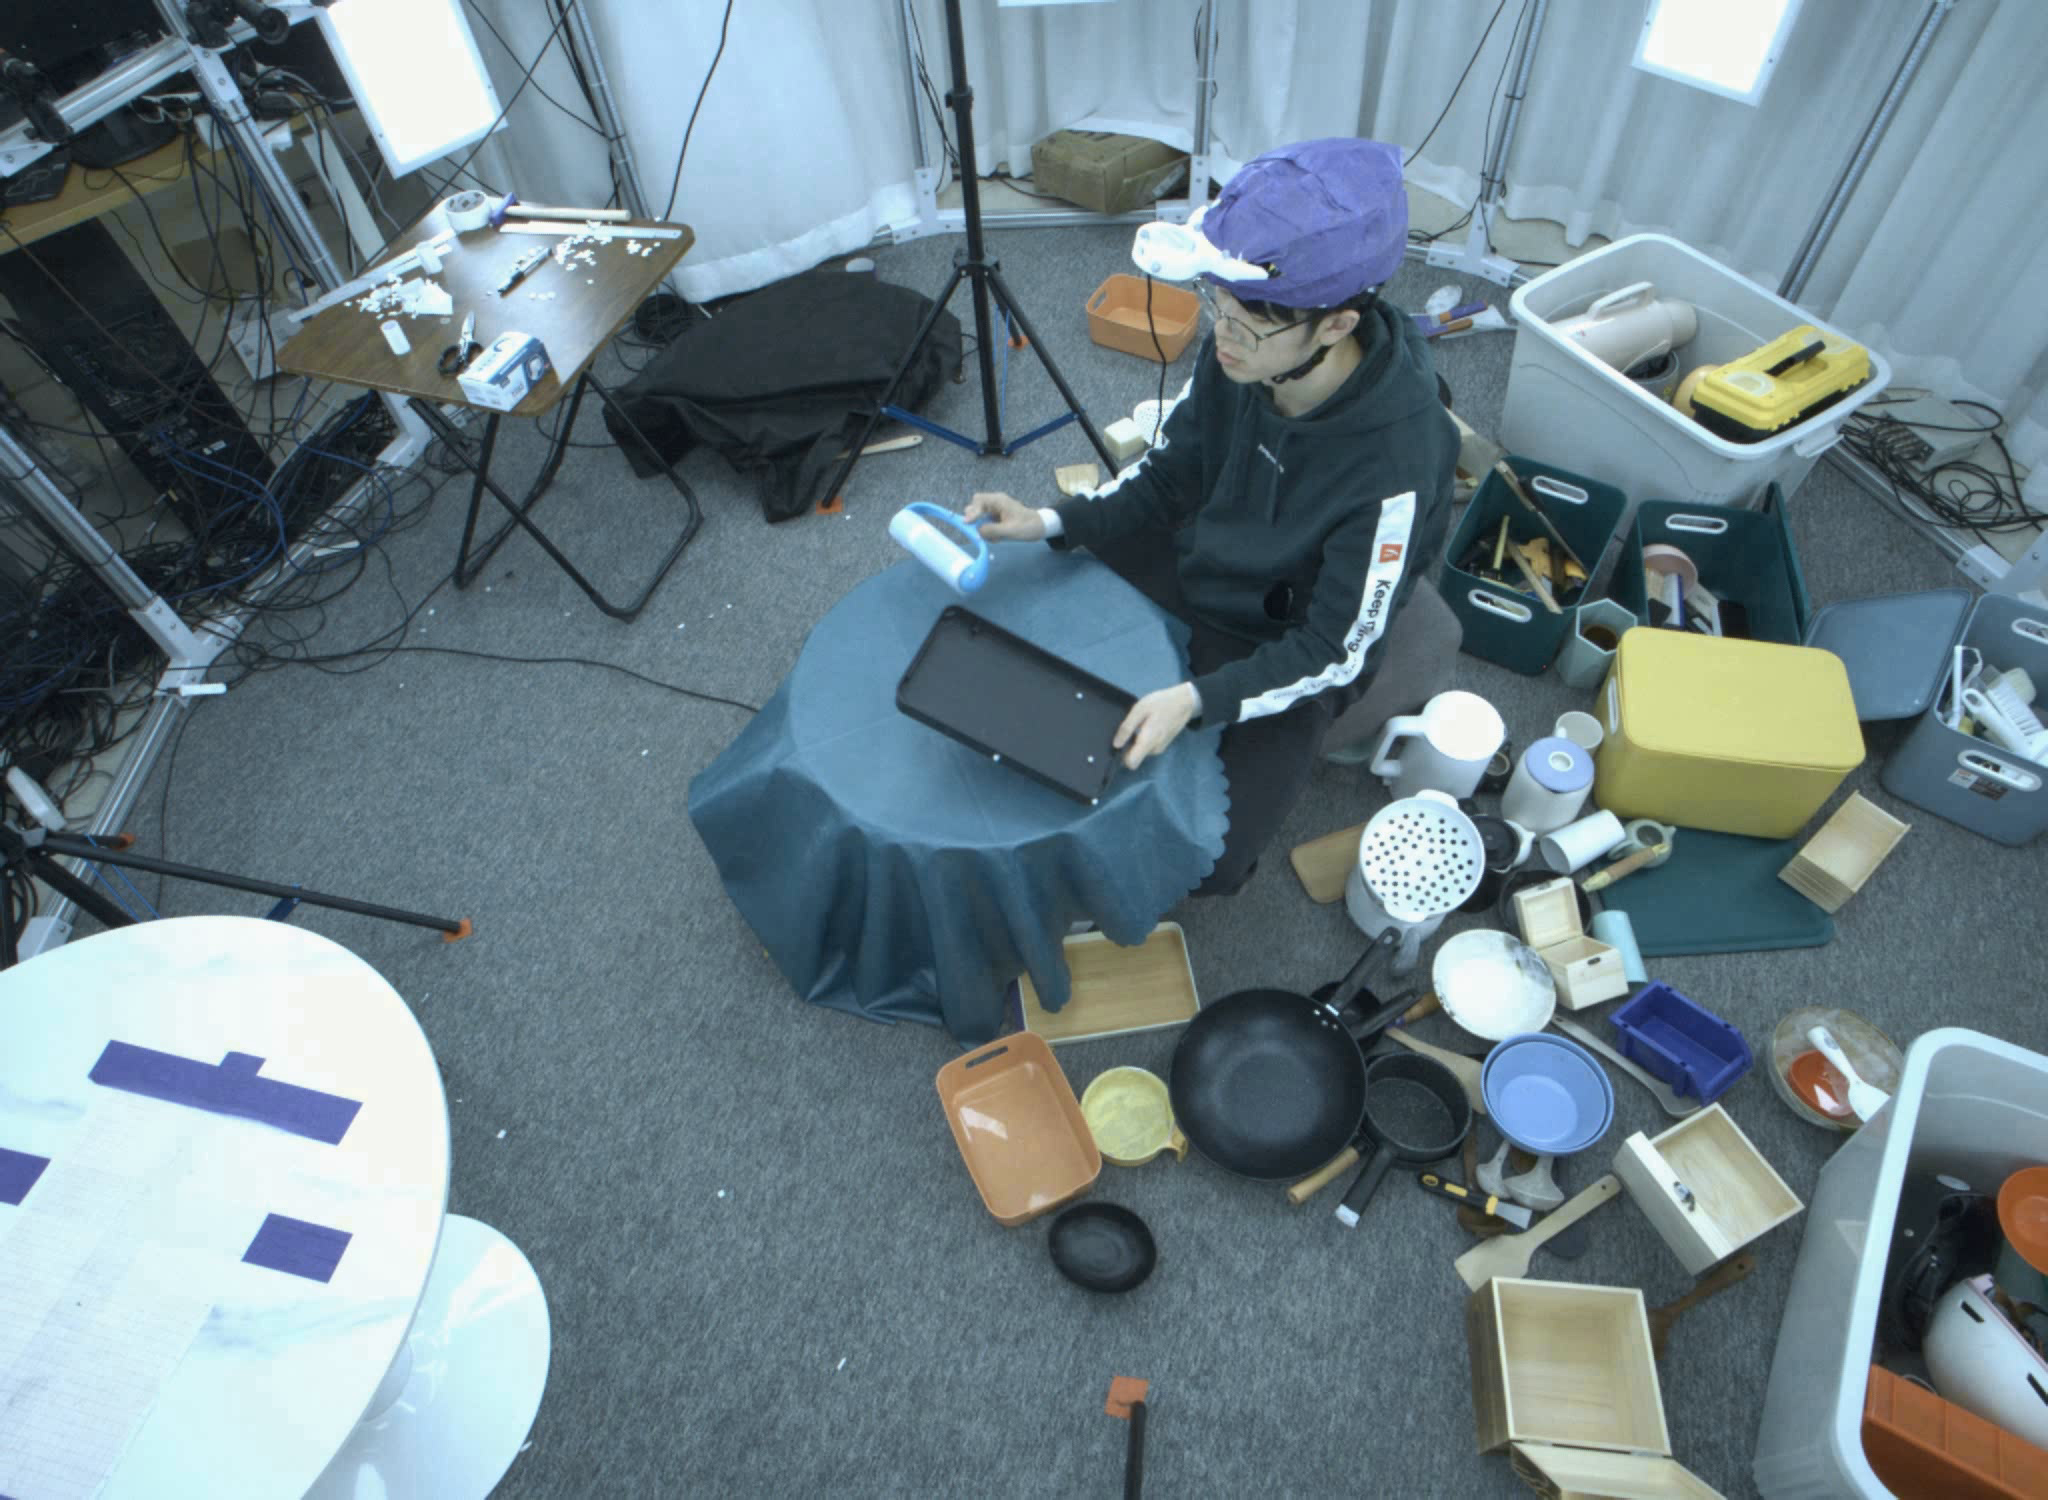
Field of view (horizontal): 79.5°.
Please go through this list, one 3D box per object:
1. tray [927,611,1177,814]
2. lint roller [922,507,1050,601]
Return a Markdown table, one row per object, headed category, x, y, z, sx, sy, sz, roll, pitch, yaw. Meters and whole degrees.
| category | x | y | z | sx | sy | sz | roll | pitch | yaw |
| --- | --- | --- | --- | --- | --- | --- | --- | --- | --- |
| tray | 0.040 | -0.052 | 1.693 | 0.318 | 0.037 | 0.184 | 27 | 60 | -1 |
| lint roller | -0.039 | -0.321 | 1.899 | 0.182 | 0.068 | 0.224 | -26 | 49 | -27 |
